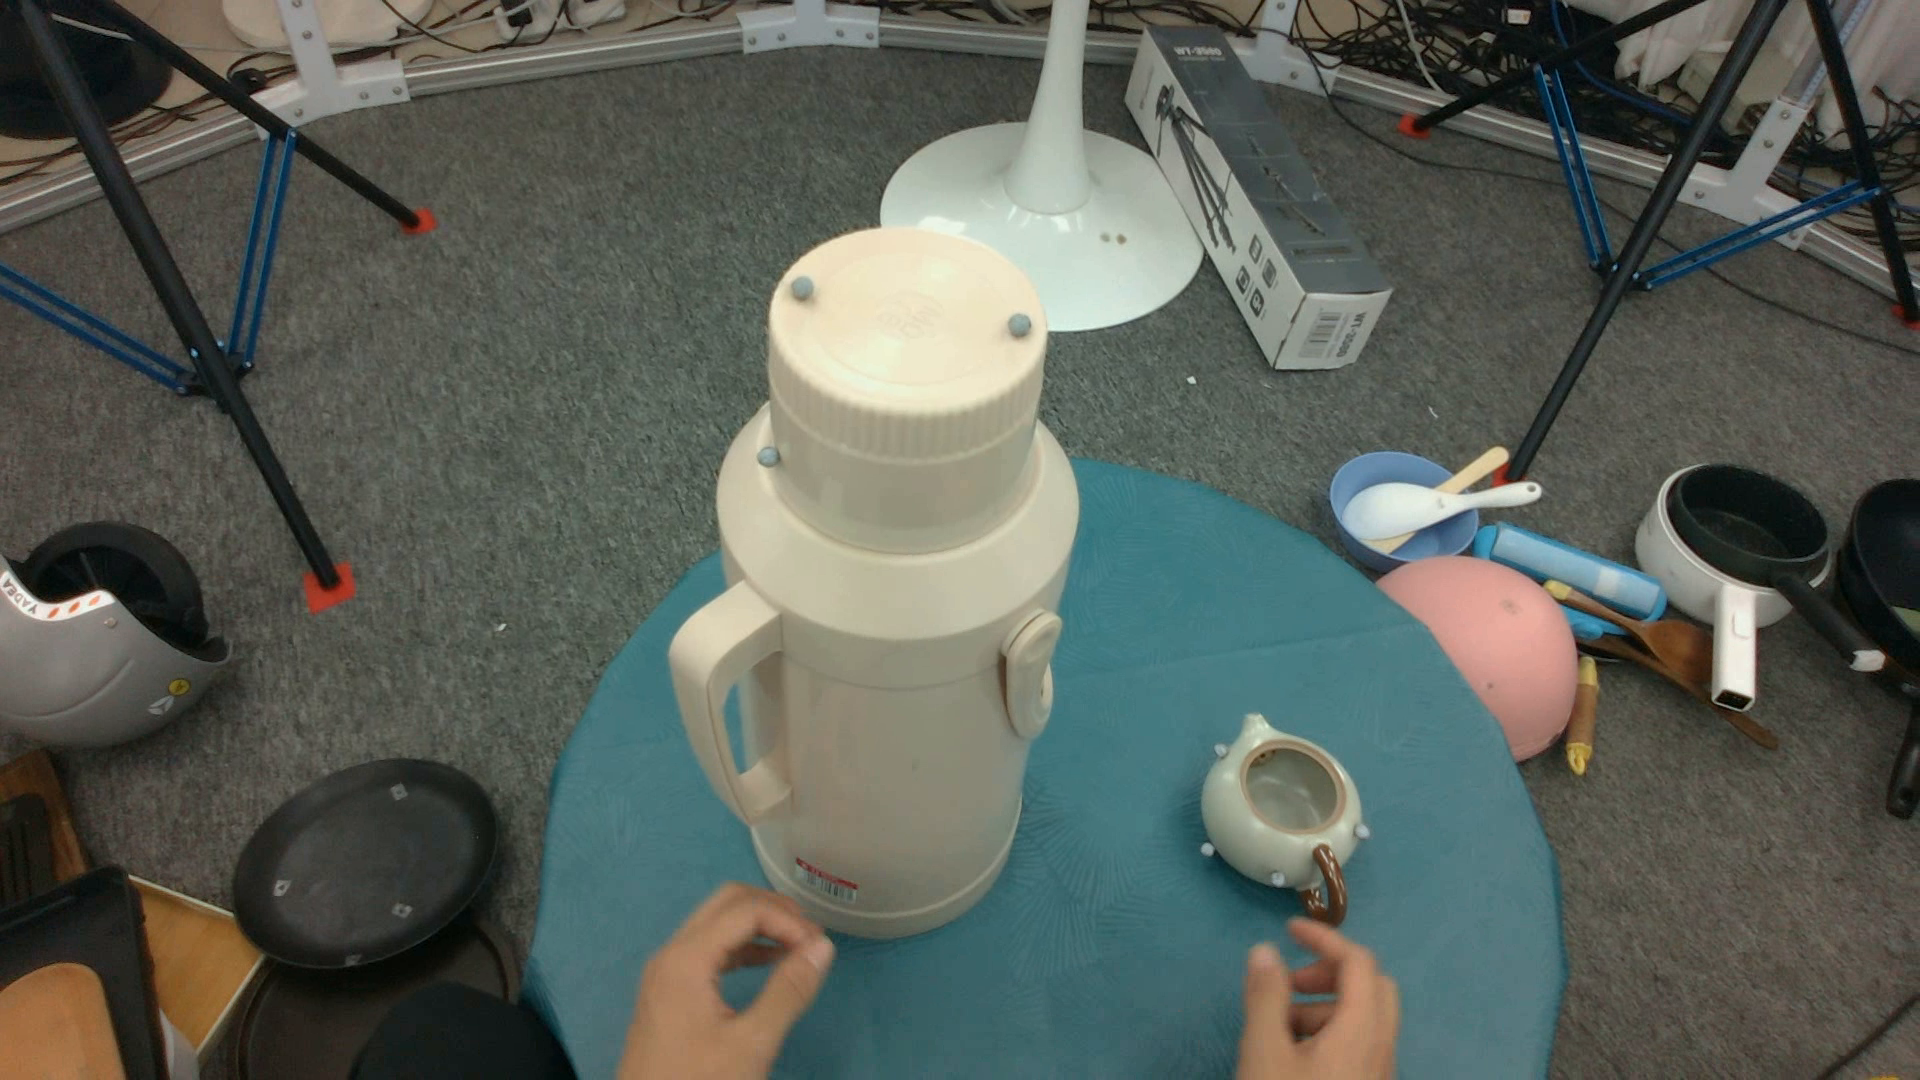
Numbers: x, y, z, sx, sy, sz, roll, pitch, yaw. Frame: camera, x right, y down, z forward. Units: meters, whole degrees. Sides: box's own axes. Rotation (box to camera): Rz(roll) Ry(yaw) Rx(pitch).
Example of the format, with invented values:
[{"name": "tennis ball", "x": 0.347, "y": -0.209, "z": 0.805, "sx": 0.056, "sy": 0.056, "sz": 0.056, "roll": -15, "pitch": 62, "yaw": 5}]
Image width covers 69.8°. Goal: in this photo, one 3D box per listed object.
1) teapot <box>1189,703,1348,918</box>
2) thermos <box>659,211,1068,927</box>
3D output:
[{"name": "teapot", "x": 0.184, "y": 0.159, "z": 0.804, "sx": 0.092, "sy": 0.059, "sz": 0.128, "roll": -11, "pitch": 52, "yaw": -18}, {"name": "thermos", "x": -0.050, "y": 0.041, "z": 0.661, "sx": 0.175, "sy": 0.404, "sz": 0.208, "roll": 39, "pitch": 57, "yaw": 22}]
